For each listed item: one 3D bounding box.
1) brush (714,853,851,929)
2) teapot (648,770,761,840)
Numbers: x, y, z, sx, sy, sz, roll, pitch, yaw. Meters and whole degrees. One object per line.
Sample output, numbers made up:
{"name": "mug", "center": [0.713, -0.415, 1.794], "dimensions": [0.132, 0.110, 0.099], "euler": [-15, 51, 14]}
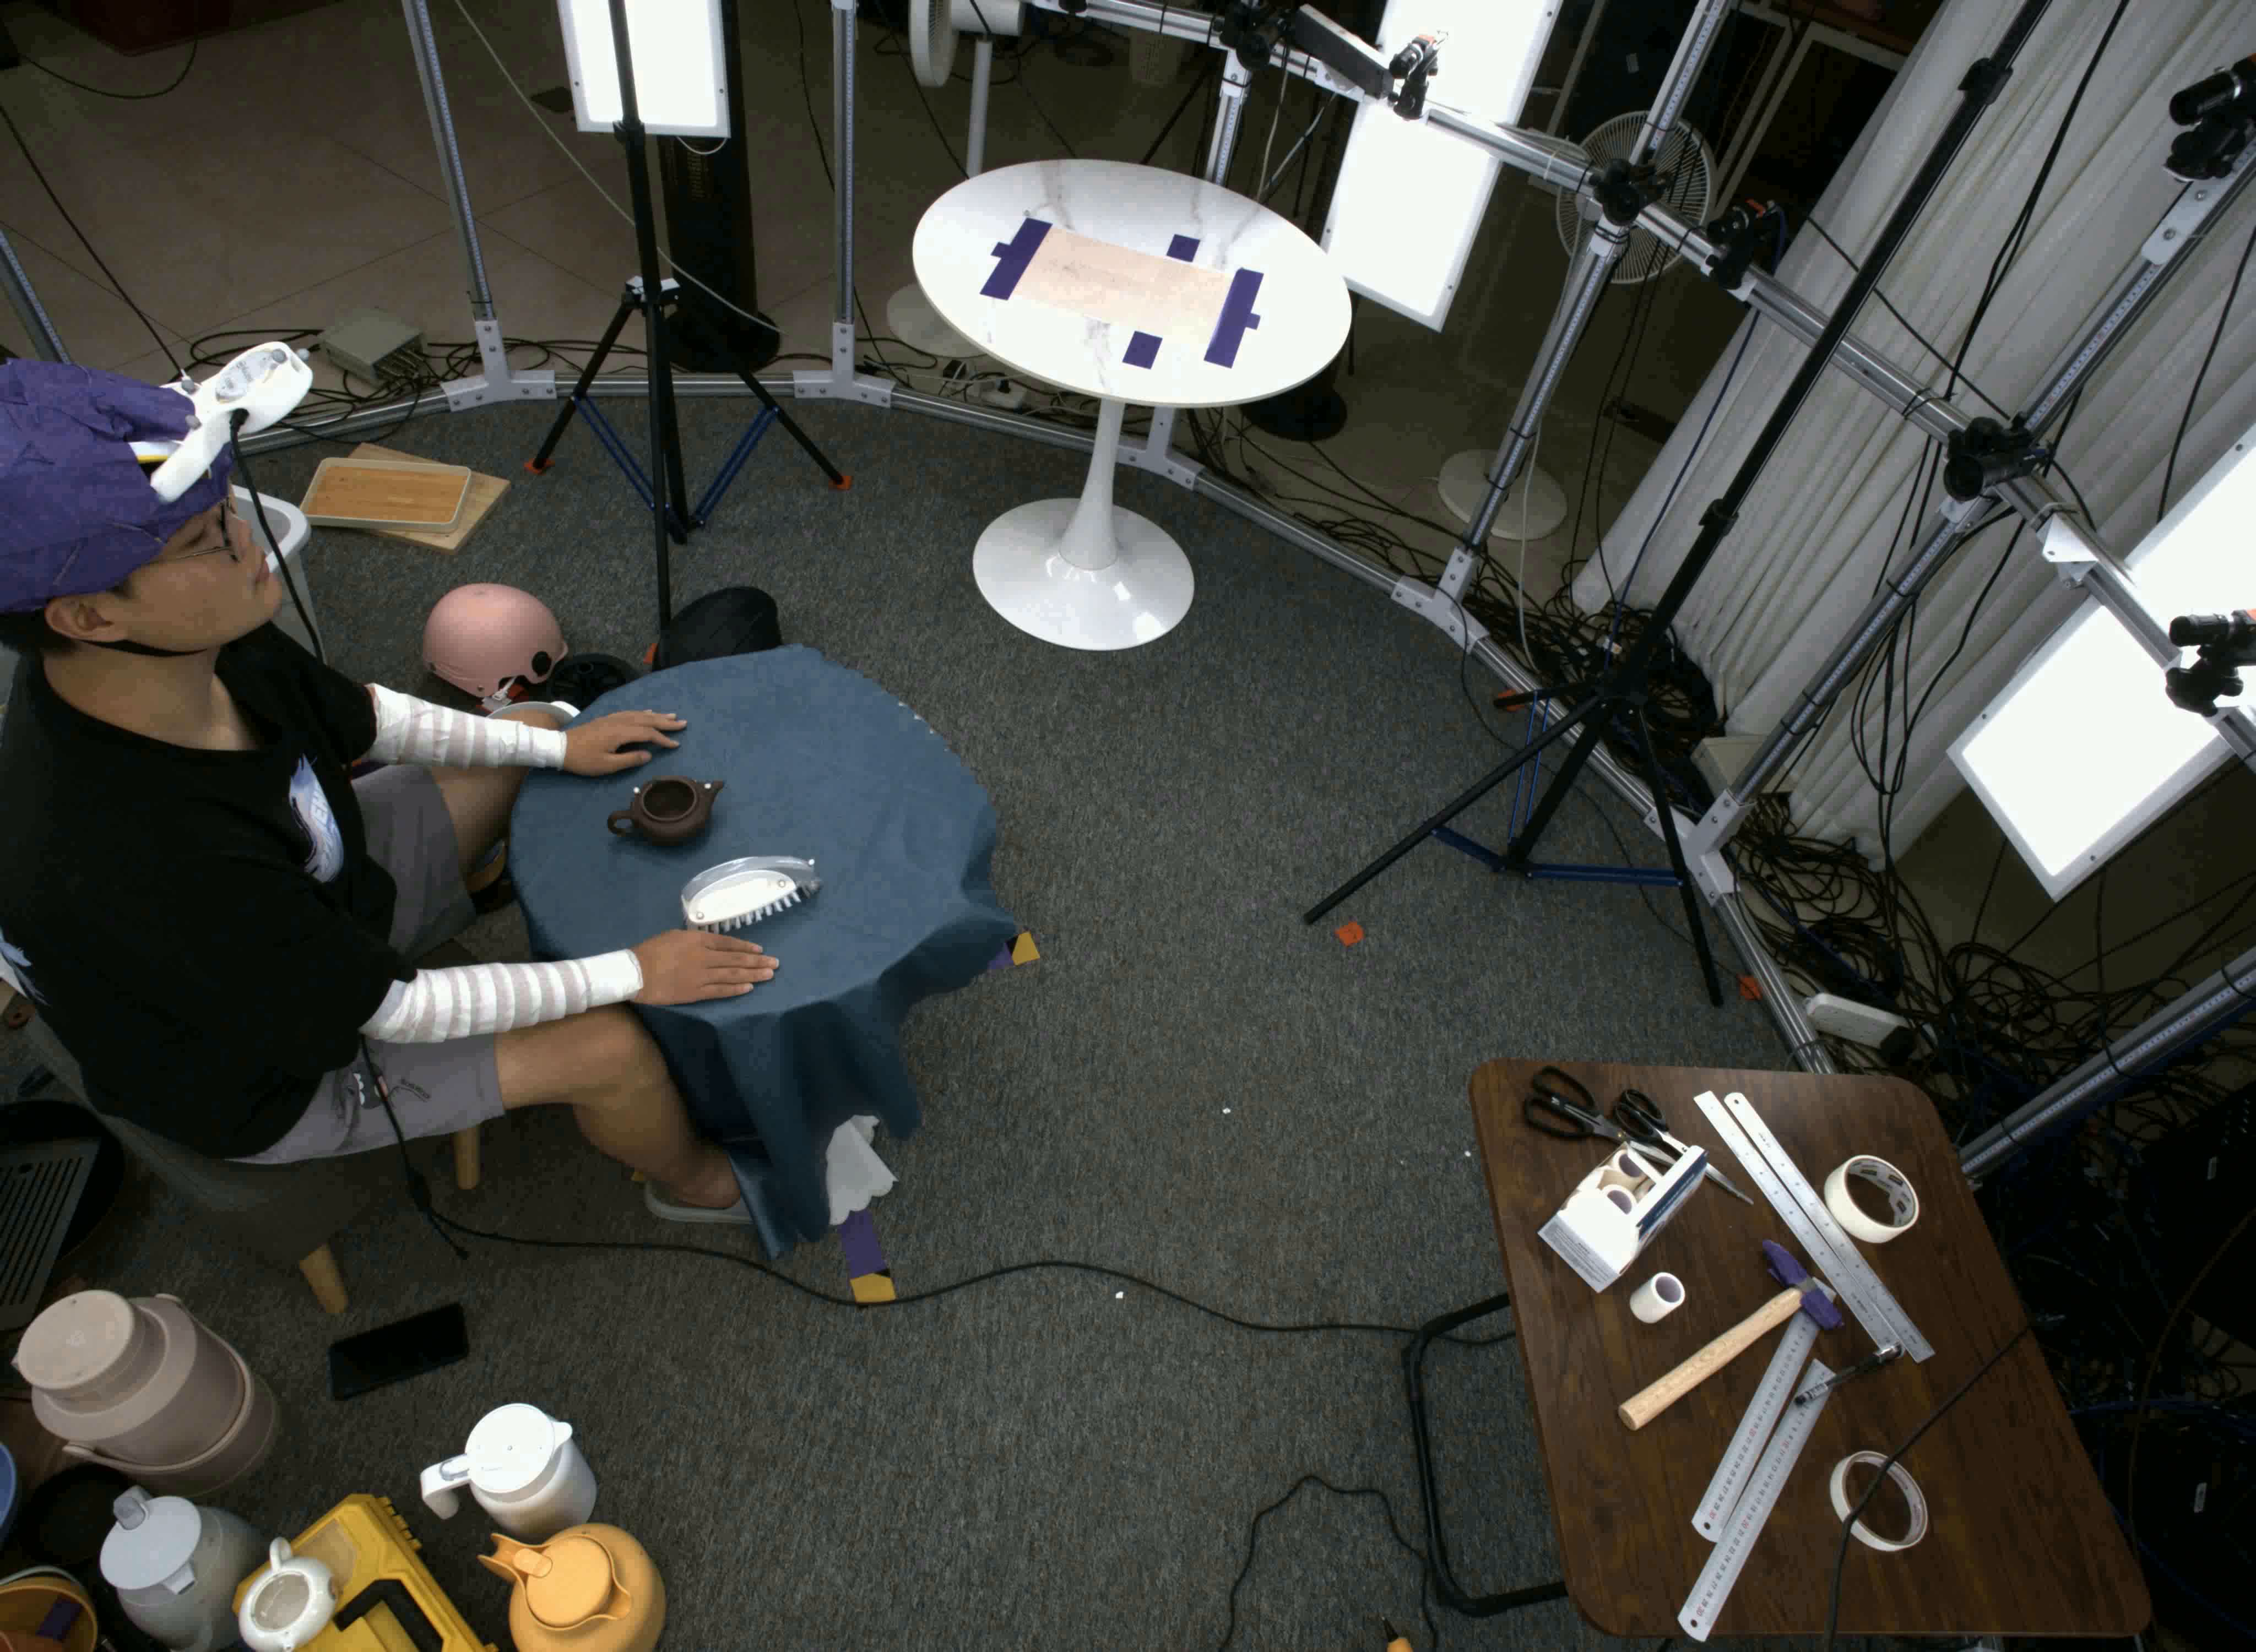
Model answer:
{"name": "brush", "center": [-0.432, 0.064, 1.626], "dimensions": [0.176, 0.096, 0.060], "euler": [-14, 60, -25]}
{"name": "teapot", "center": [-0.554, -0.029, 1.689], "dimensions": [0.154, 0.055, 0.100], "euler": [-22, 60, -27]}
